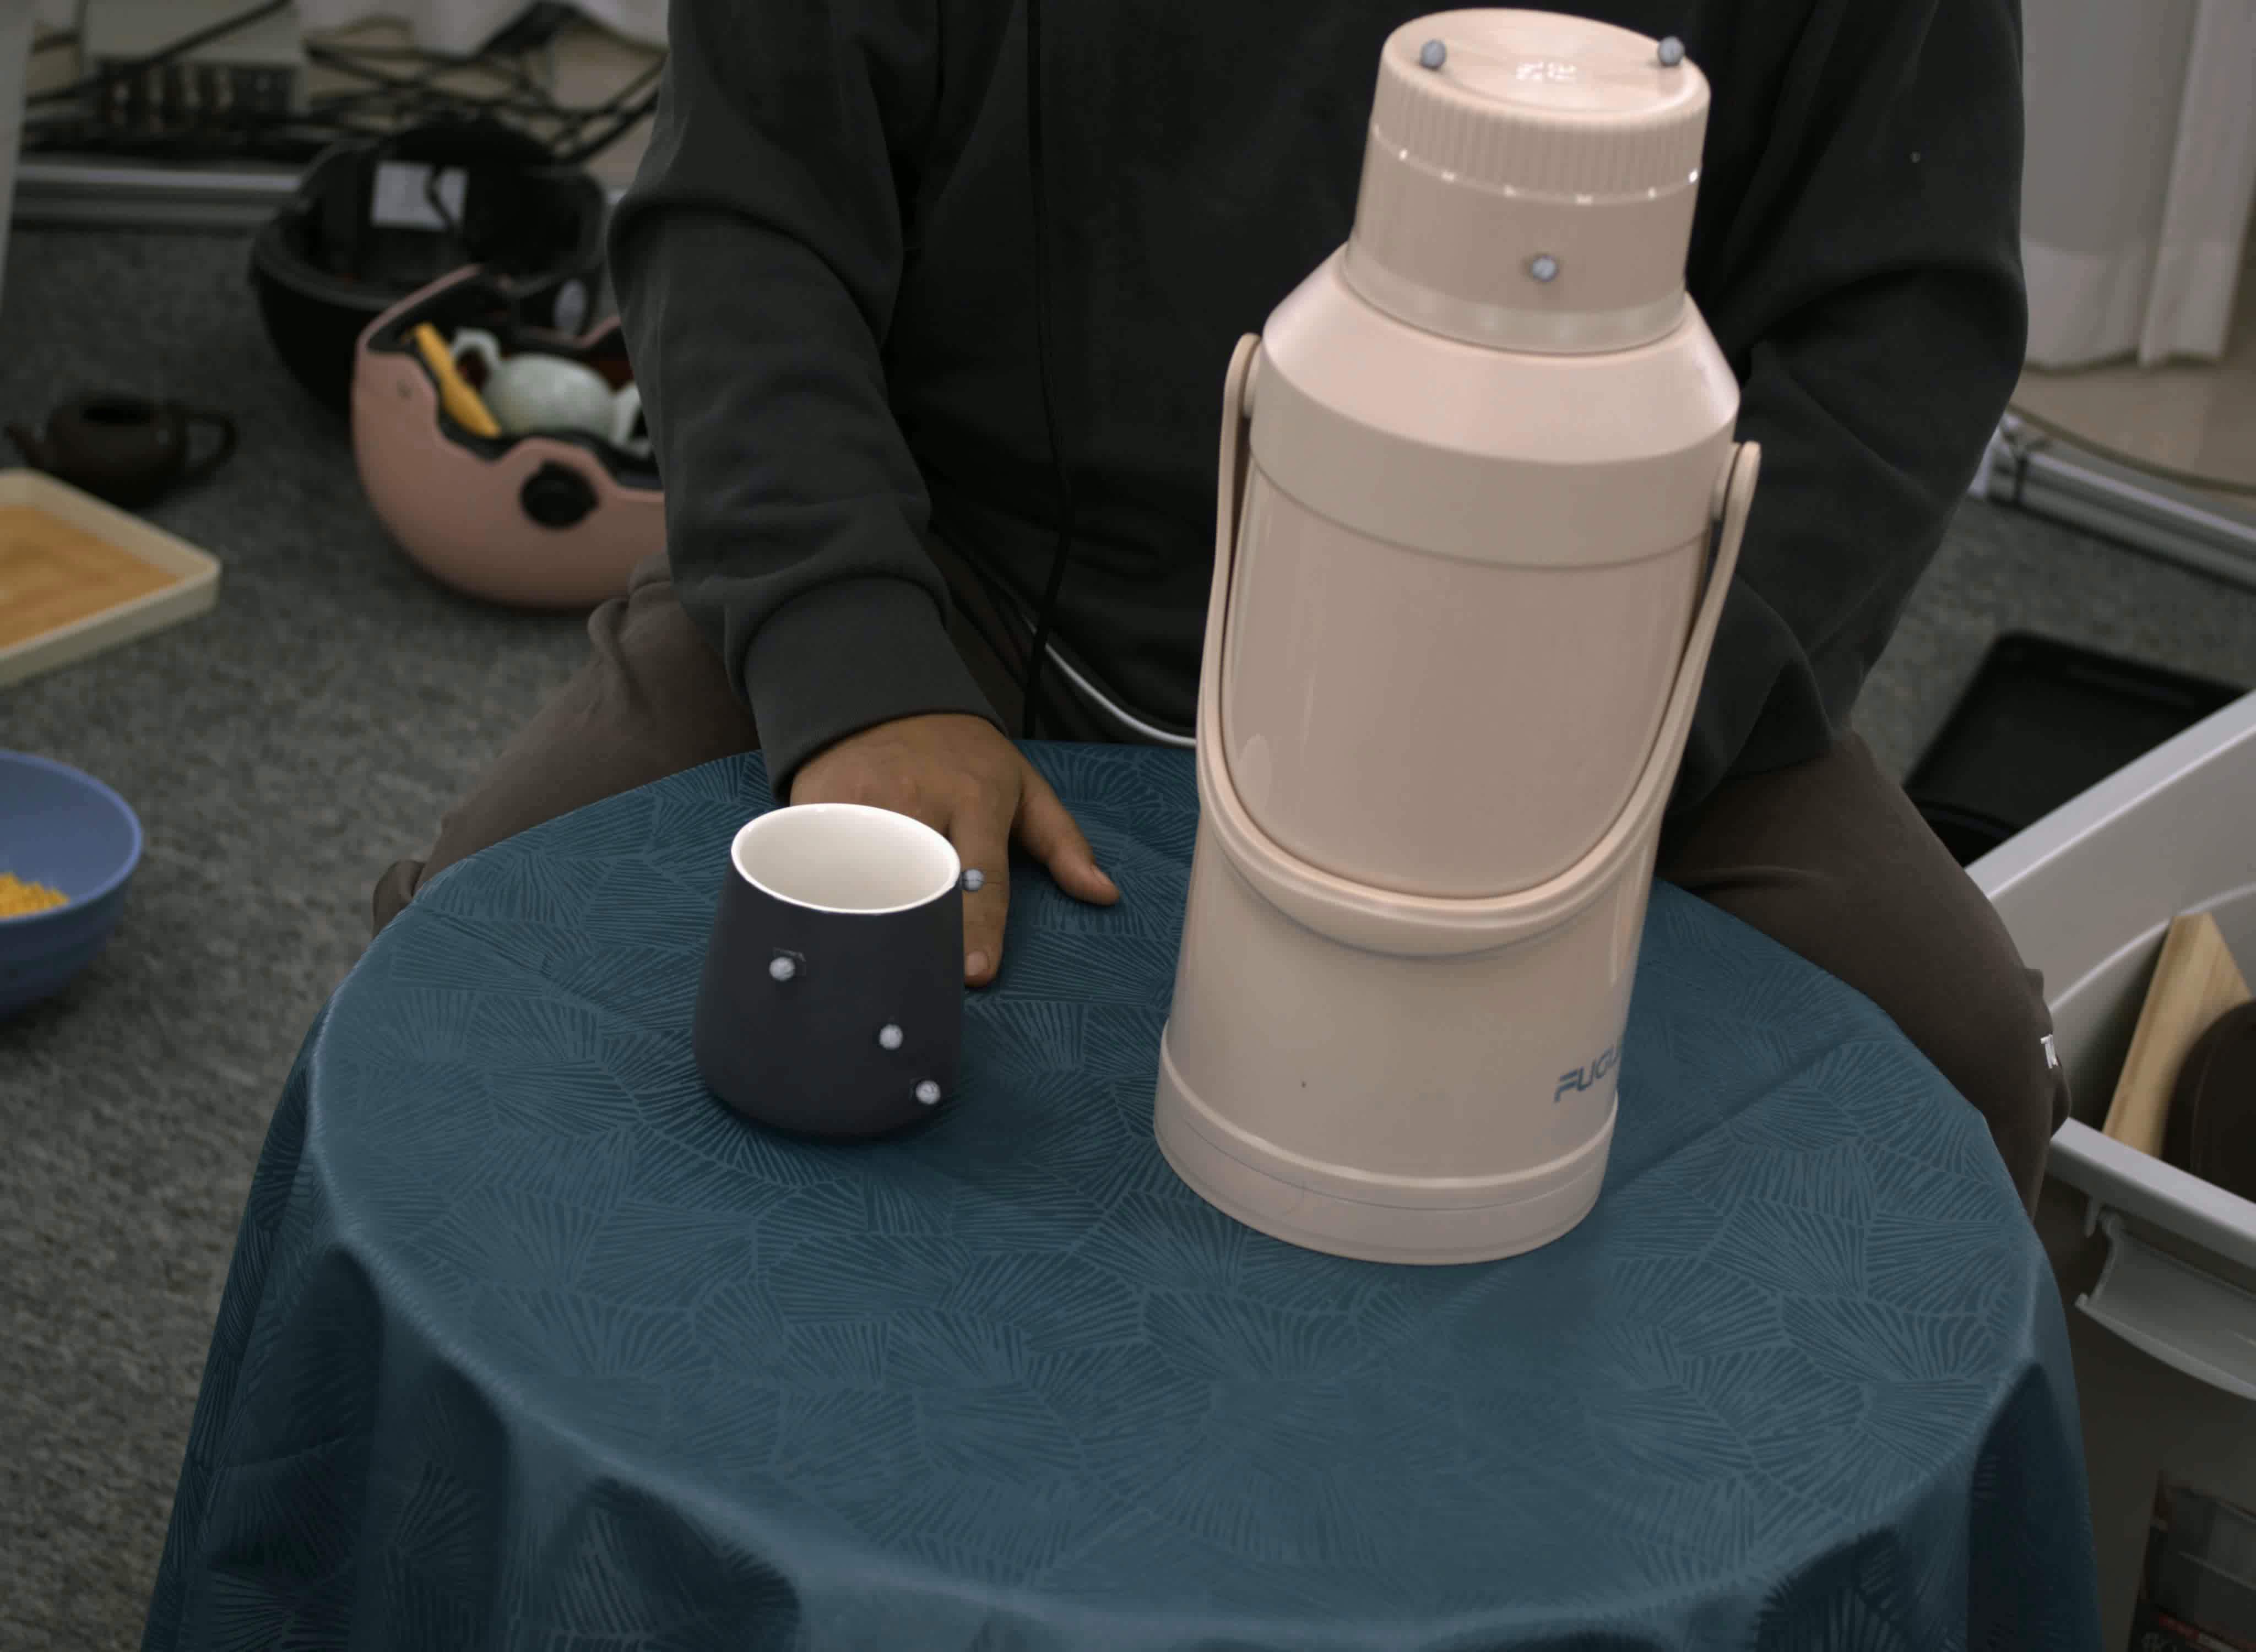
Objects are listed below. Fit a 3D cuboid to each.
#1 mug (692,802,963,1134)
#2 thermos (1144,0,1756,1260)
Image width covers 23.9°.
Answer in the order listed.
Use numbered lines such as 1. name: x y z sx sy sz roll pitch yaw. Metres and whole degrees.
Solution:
1. mug: -0.095 0.043 1.841 0.094 0.089 0.123 17 28 17
2. thermos: 0.112 -0.071 1.778 0.175 0.405 0.207 13 27 11
